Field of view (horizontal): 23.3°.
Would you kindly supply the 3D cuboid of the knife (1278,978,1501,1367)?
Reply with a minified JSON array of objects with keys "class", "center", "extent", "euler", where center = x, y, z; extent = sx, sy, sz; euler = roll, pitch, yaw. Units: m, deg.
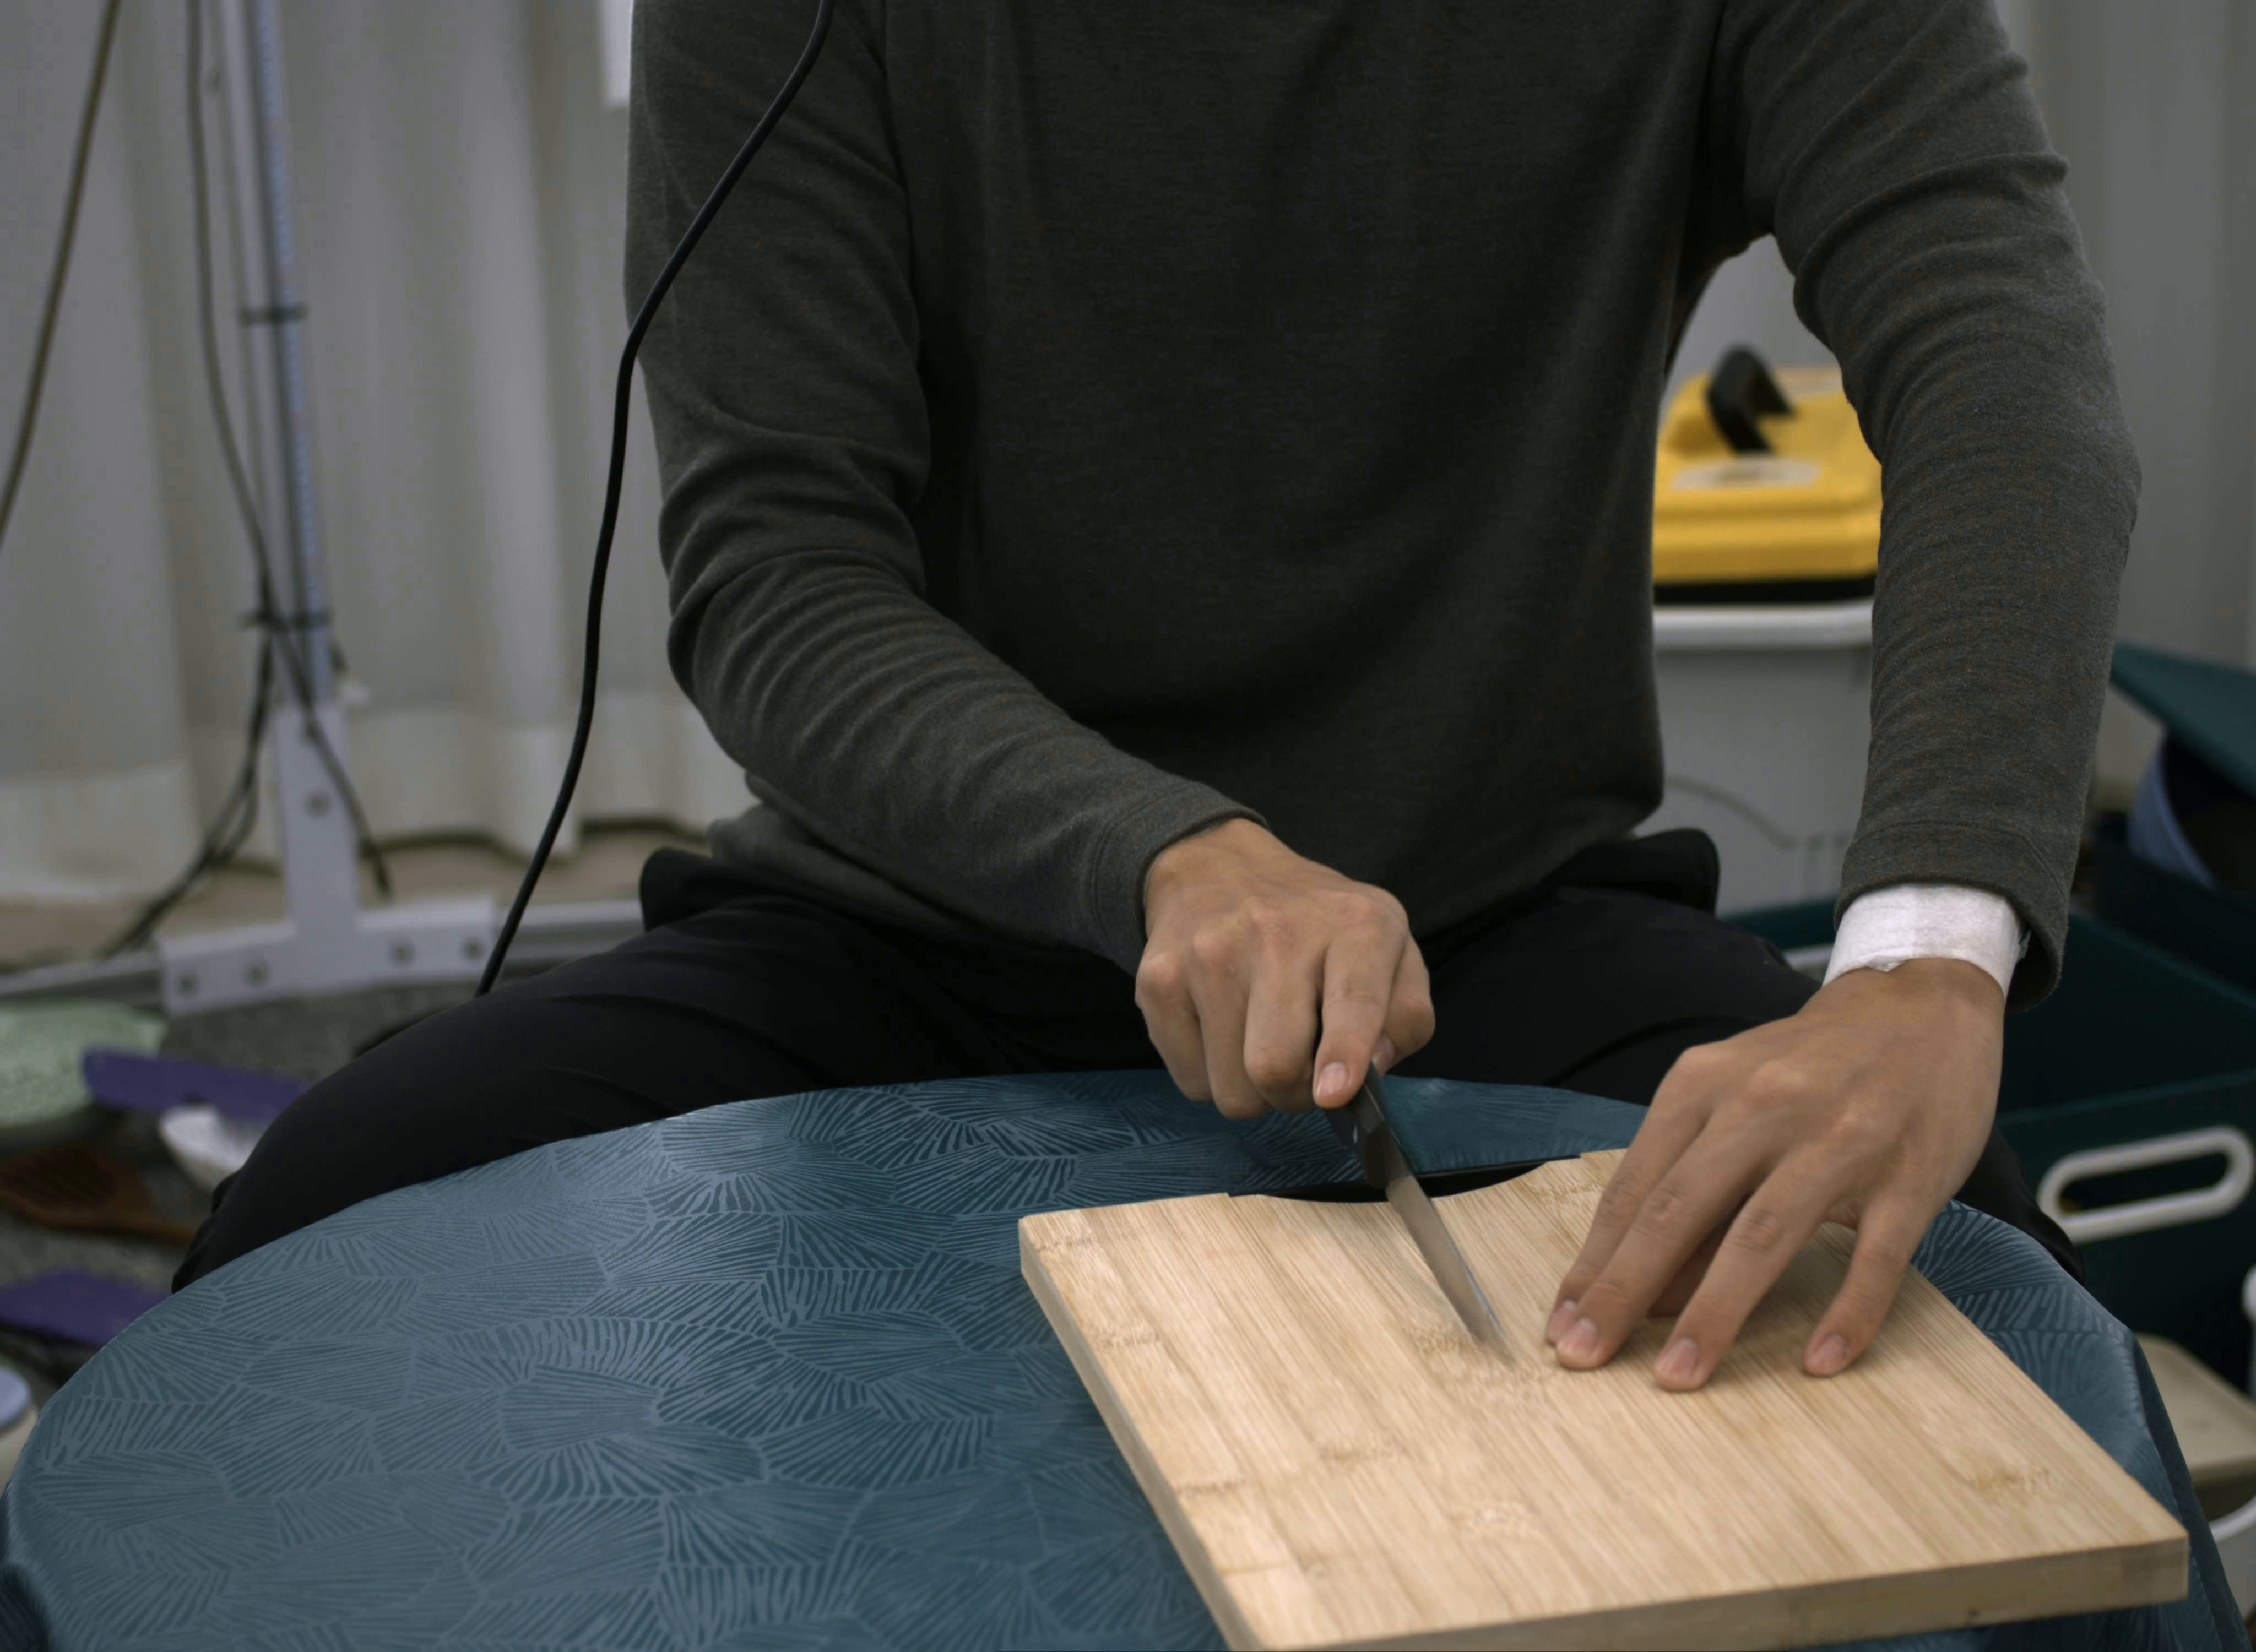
[{"class":"knife","center":[0.078,0.100,1.604],"extent":[0.016,0.024,0.241],"euler":[0,24,-13]}]

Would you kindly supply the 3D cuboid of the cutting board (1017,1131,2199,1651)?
[{"class":"cutting board","center":[0.117,0.156,1.511],"extent":[0.249,0.023,0.351],"euler":[-5,15,-11]}]
